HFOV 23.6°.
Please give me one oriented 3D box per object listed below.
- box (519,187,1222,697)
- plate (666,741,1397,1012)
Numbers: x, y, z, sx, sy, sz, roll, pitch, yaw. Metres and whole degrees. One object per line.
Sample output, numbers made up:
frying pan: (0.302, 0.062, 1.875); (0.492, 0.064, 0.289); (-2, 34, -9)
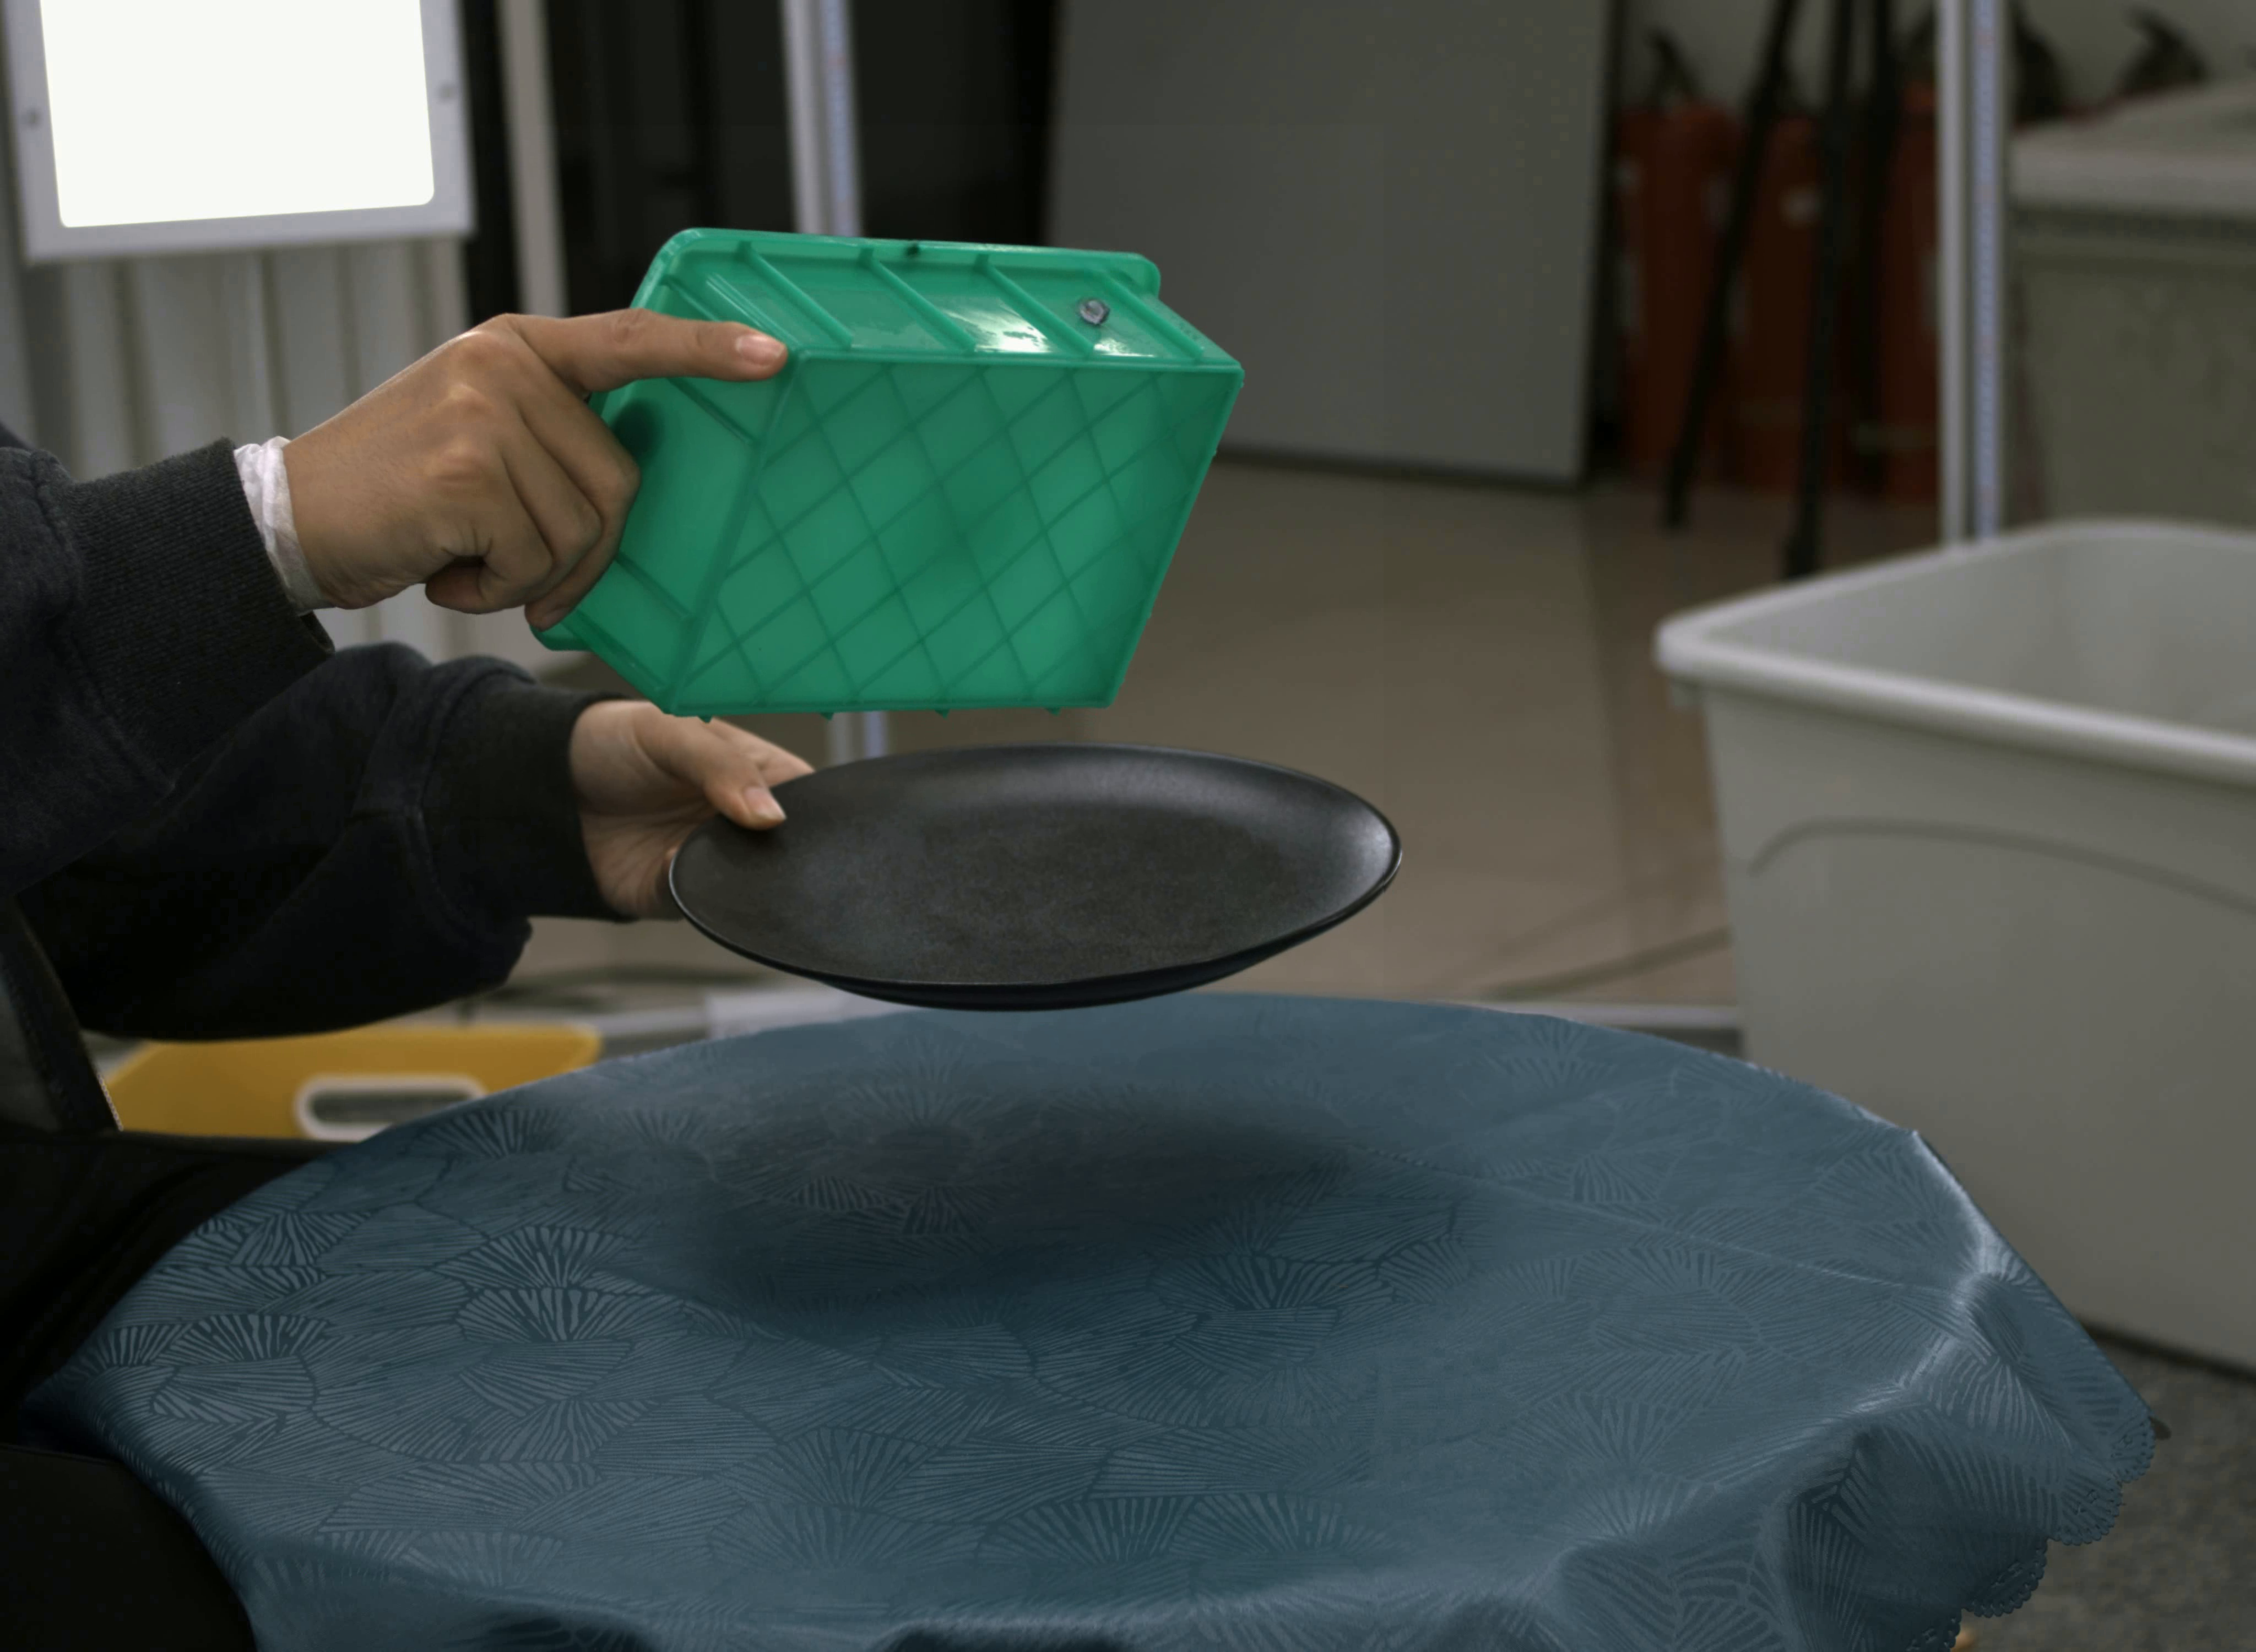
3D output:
box: (-0.069, -0.106, 1.581); (0.066, 0.140, 0.206); (37, 25, 34)
plate: (-0.031, 0.019, 1.776); (0.241, 0.023, 0.245); (-3, 19, 0)
